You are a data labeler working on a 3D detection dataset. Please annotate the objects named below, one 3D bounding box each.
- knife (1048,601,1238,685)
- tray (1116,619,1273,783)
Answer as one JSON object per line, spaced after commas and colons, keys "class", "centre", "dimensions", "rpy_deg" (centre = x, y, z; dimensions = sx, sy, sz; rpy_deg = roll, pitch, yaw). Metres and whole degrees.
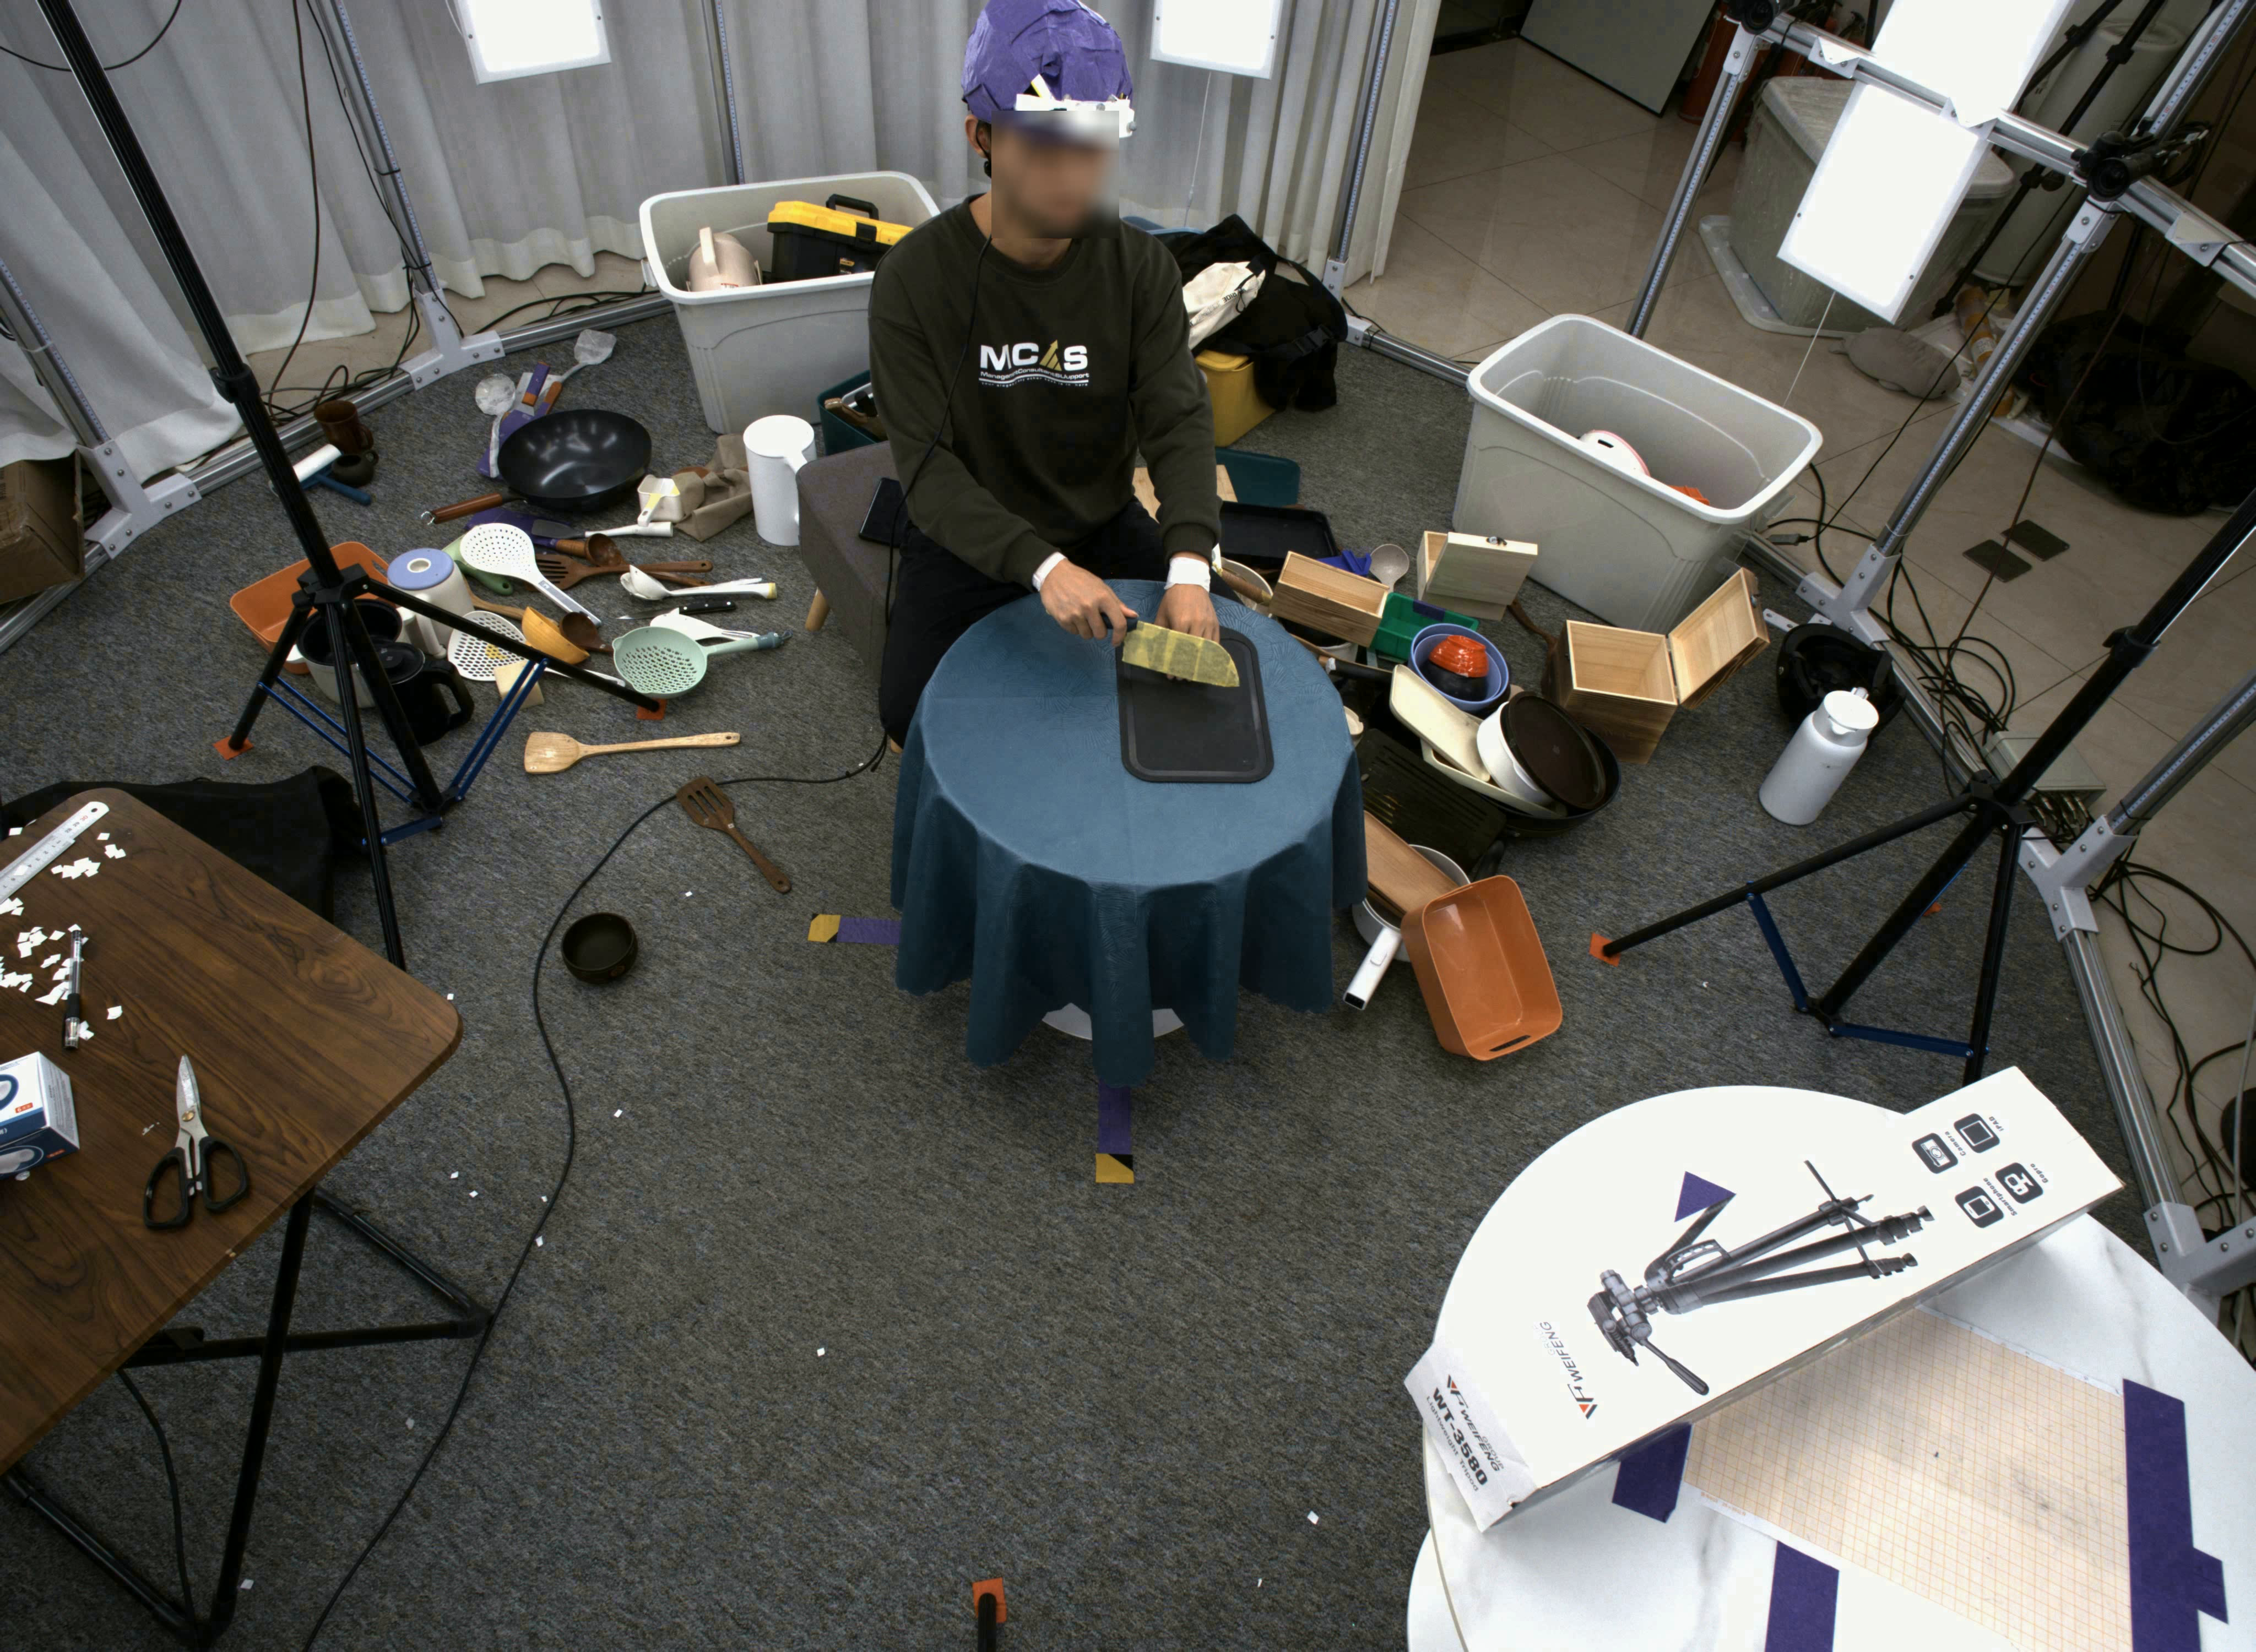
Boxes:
{"class": "knife", "centre": [0.021, -0.260, 1.823], "dimensions": [0.290, 0.079, 0.028], "rpy_deg": [20, 38, 9]}
{"class": "tray", "centre": [0.090, -0.186, 1.829], "dimensions": [0.211, 0.009, 0.333], "rpy_deg": [0, 49, -4]}
